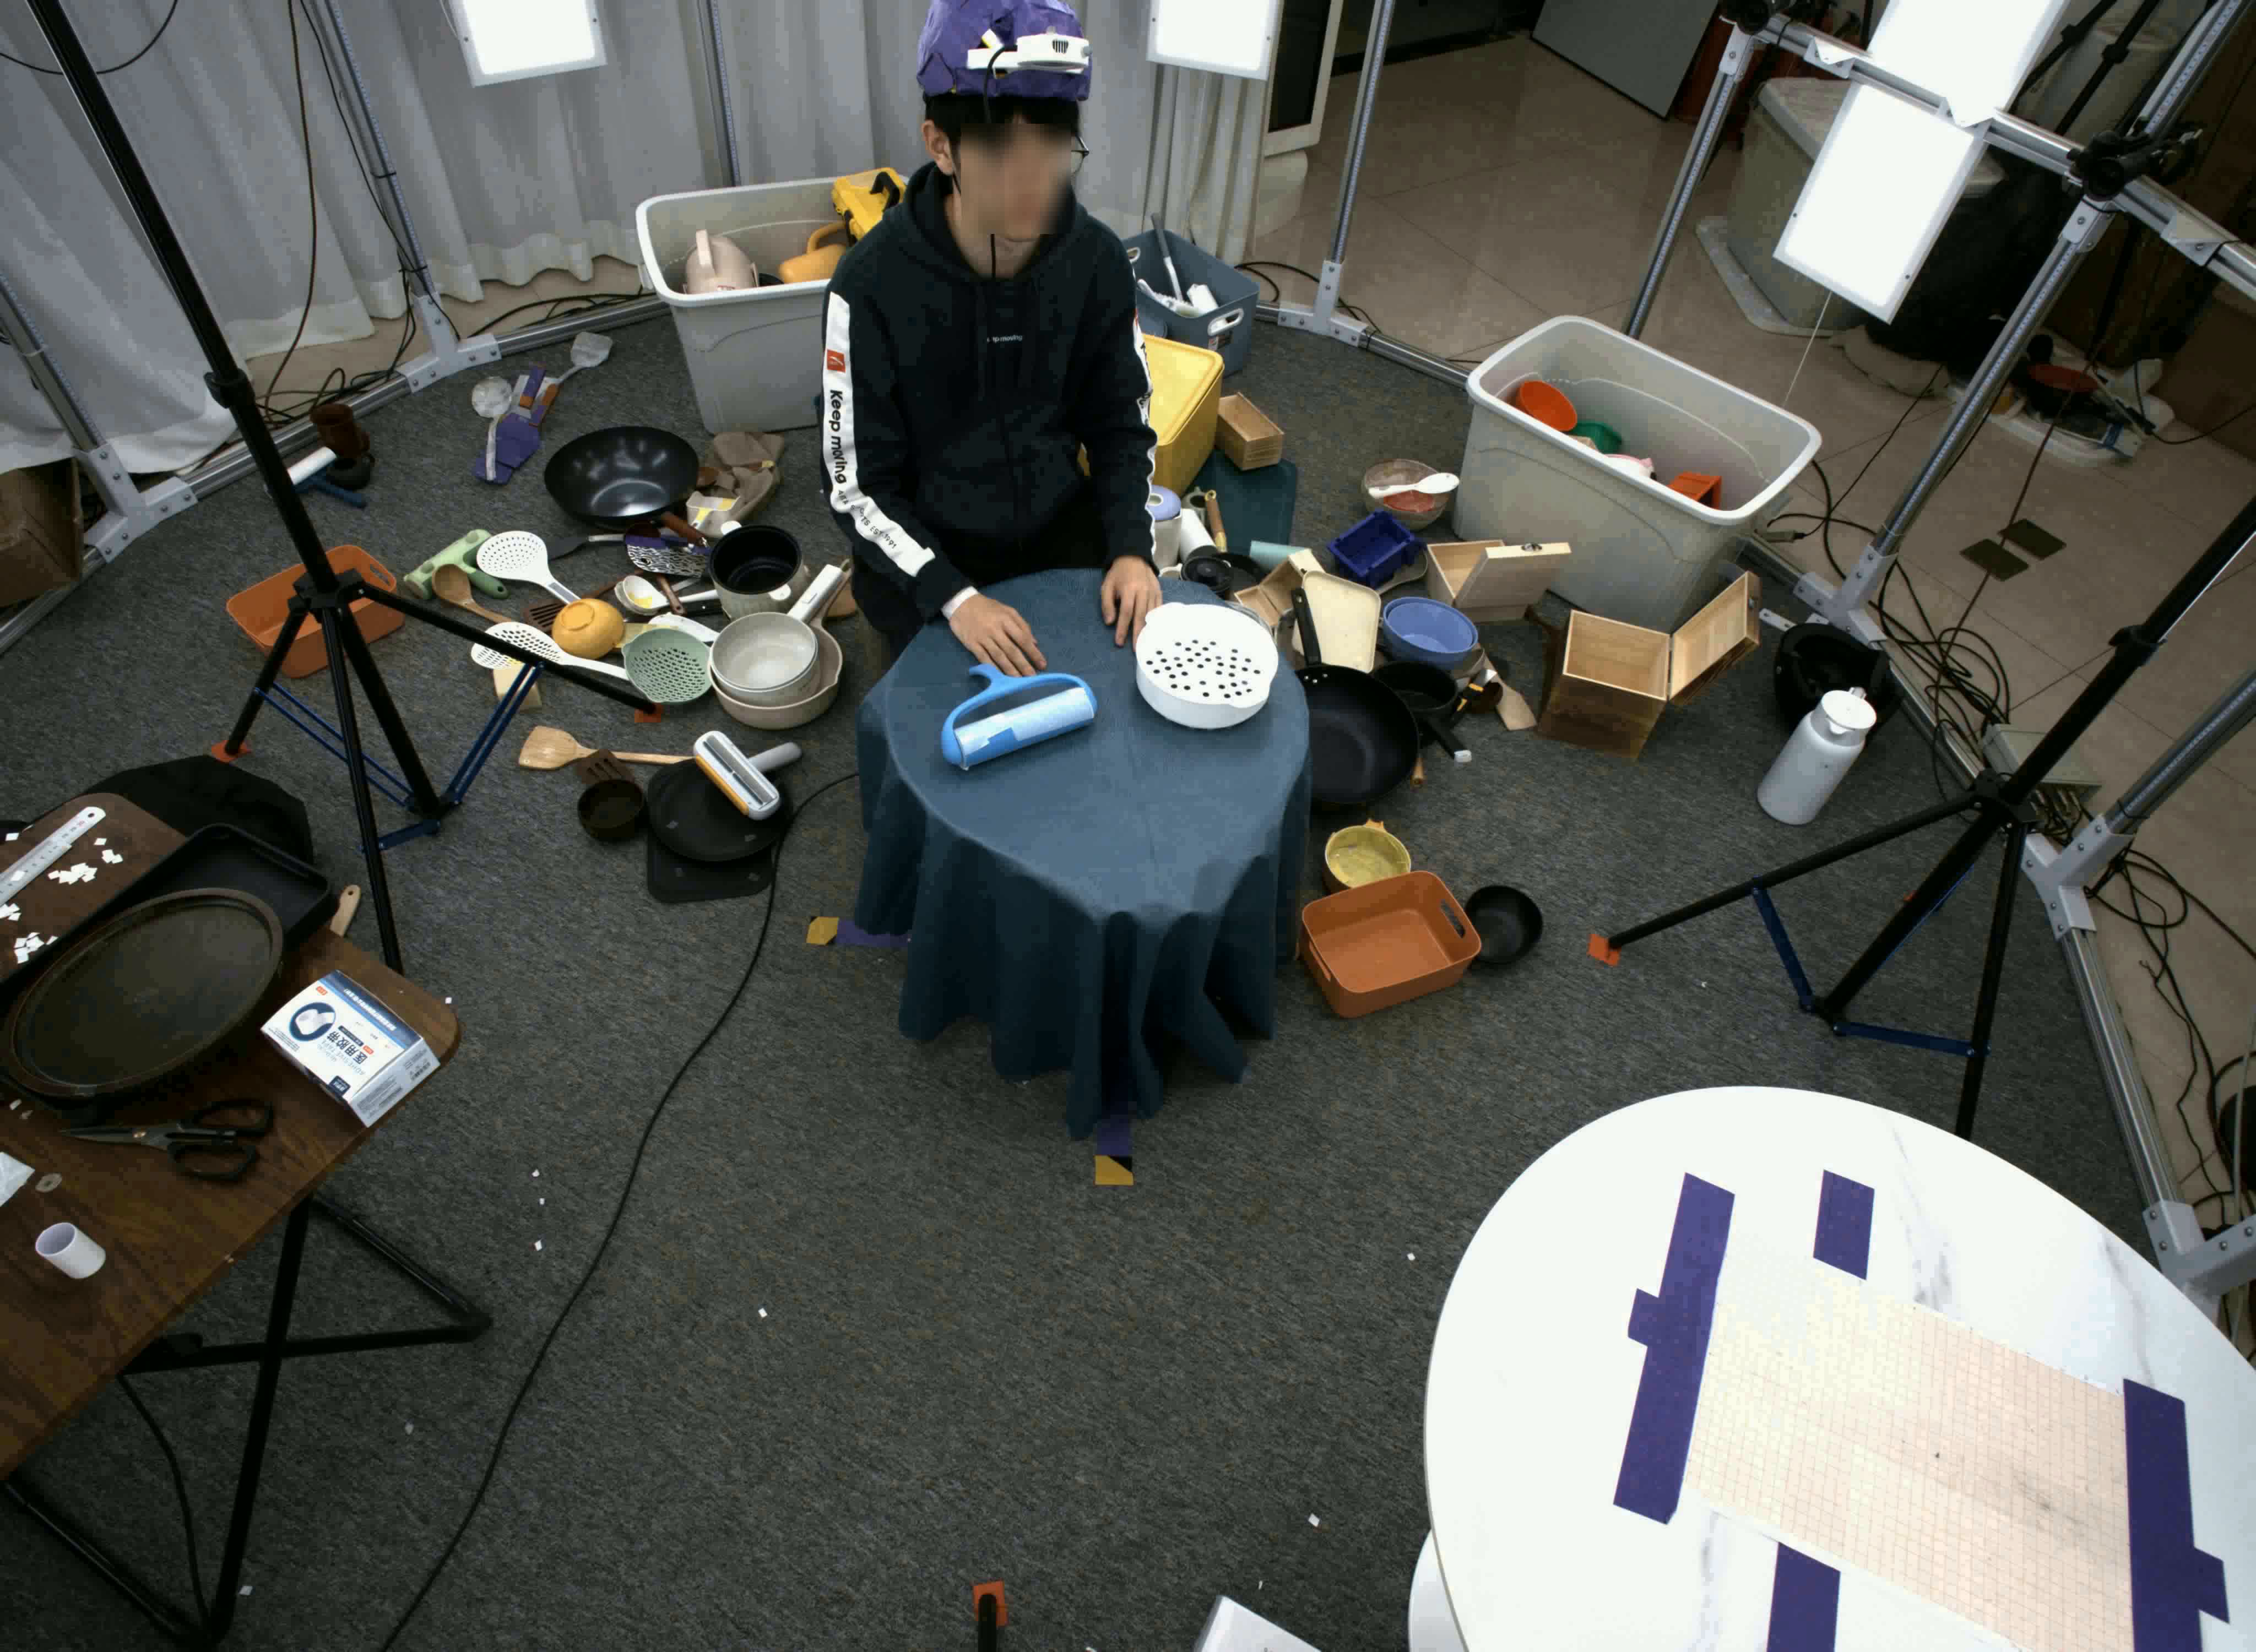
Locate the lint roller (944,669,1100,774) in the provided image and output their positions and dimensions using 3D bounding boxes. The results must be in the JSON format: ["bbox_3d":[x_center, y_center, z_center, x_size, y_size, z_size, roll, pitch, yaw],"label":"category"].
[{"bbox_3d":[-0.173,-0.172,1.771,0.230,0.066,0.184,-26,56,-21],"label":"lint roller"}]

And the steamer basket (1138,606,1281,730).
[{"bbox_3d":[0.113,-0.222,1.824,0.203,0.067,0.235,-26,55,-25],"label":"steamer basket"}]
